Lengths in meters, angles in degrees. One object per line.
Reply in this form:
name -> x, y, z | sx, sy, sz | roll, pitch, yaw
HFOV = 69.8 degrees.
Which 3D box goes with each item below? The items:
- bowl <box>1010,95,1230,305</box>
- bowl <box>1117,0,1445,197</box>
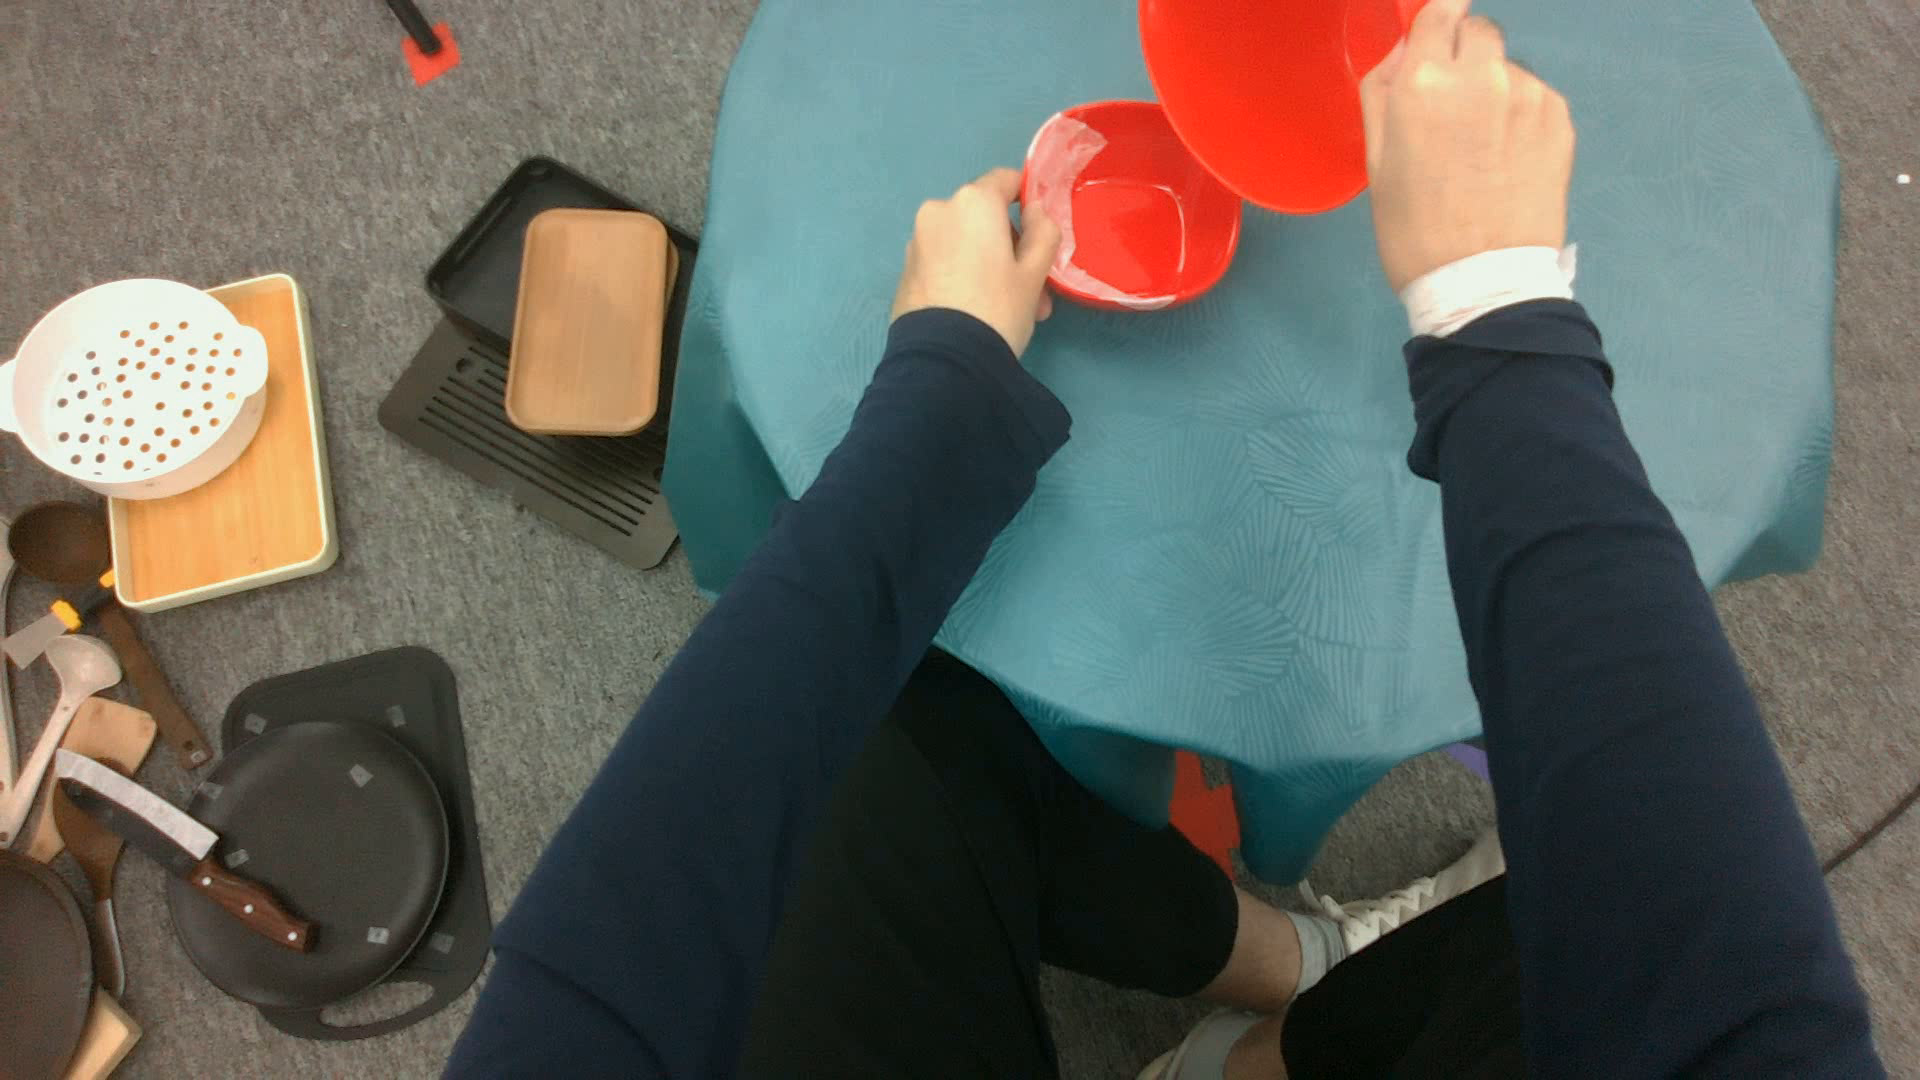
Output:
bowl -> 0.080, -0.167, 0.709 | 0.119, 0.051, 0.119 | 0, 77, -1
bowl -> 0.156, -0.237, 0.622 | 0.105, 0.147, 0.148 | -29, 76, -24
